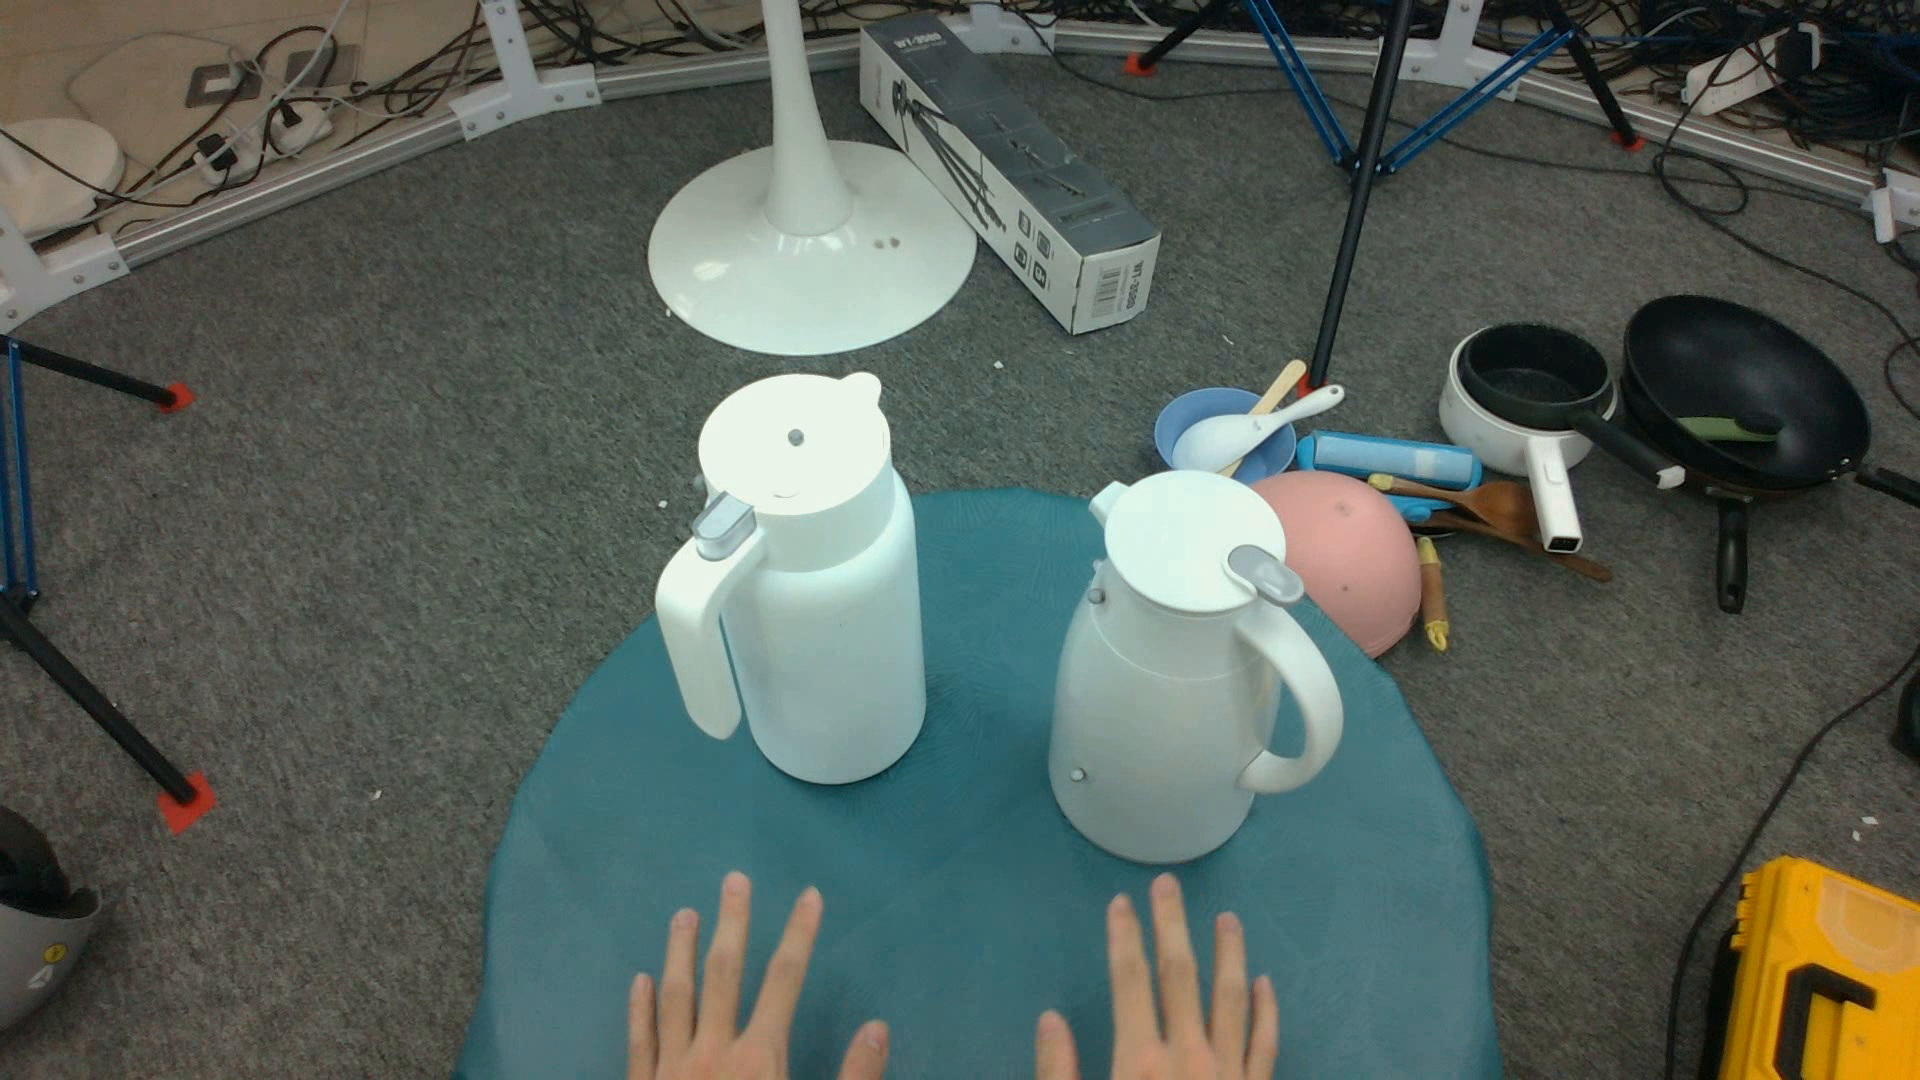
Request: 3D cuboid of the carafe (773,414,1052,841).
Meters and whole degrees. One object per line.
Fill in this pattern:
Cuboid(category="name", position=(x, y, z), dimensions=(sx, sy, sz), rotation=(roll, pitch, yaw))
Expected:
Cuboid(category="carafe", position=(-0.025, 0.076, 0.796), dimensions=(0.124, 0.268, 0.173), rotation=(18, 56, 22))

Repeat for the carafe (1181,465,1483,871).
Cuboid(category="carafe", position=(0.203, 0.077, 0.761), dimensions=(0.167, 0.247, 0.133), rotation=(29, 61, 30))
